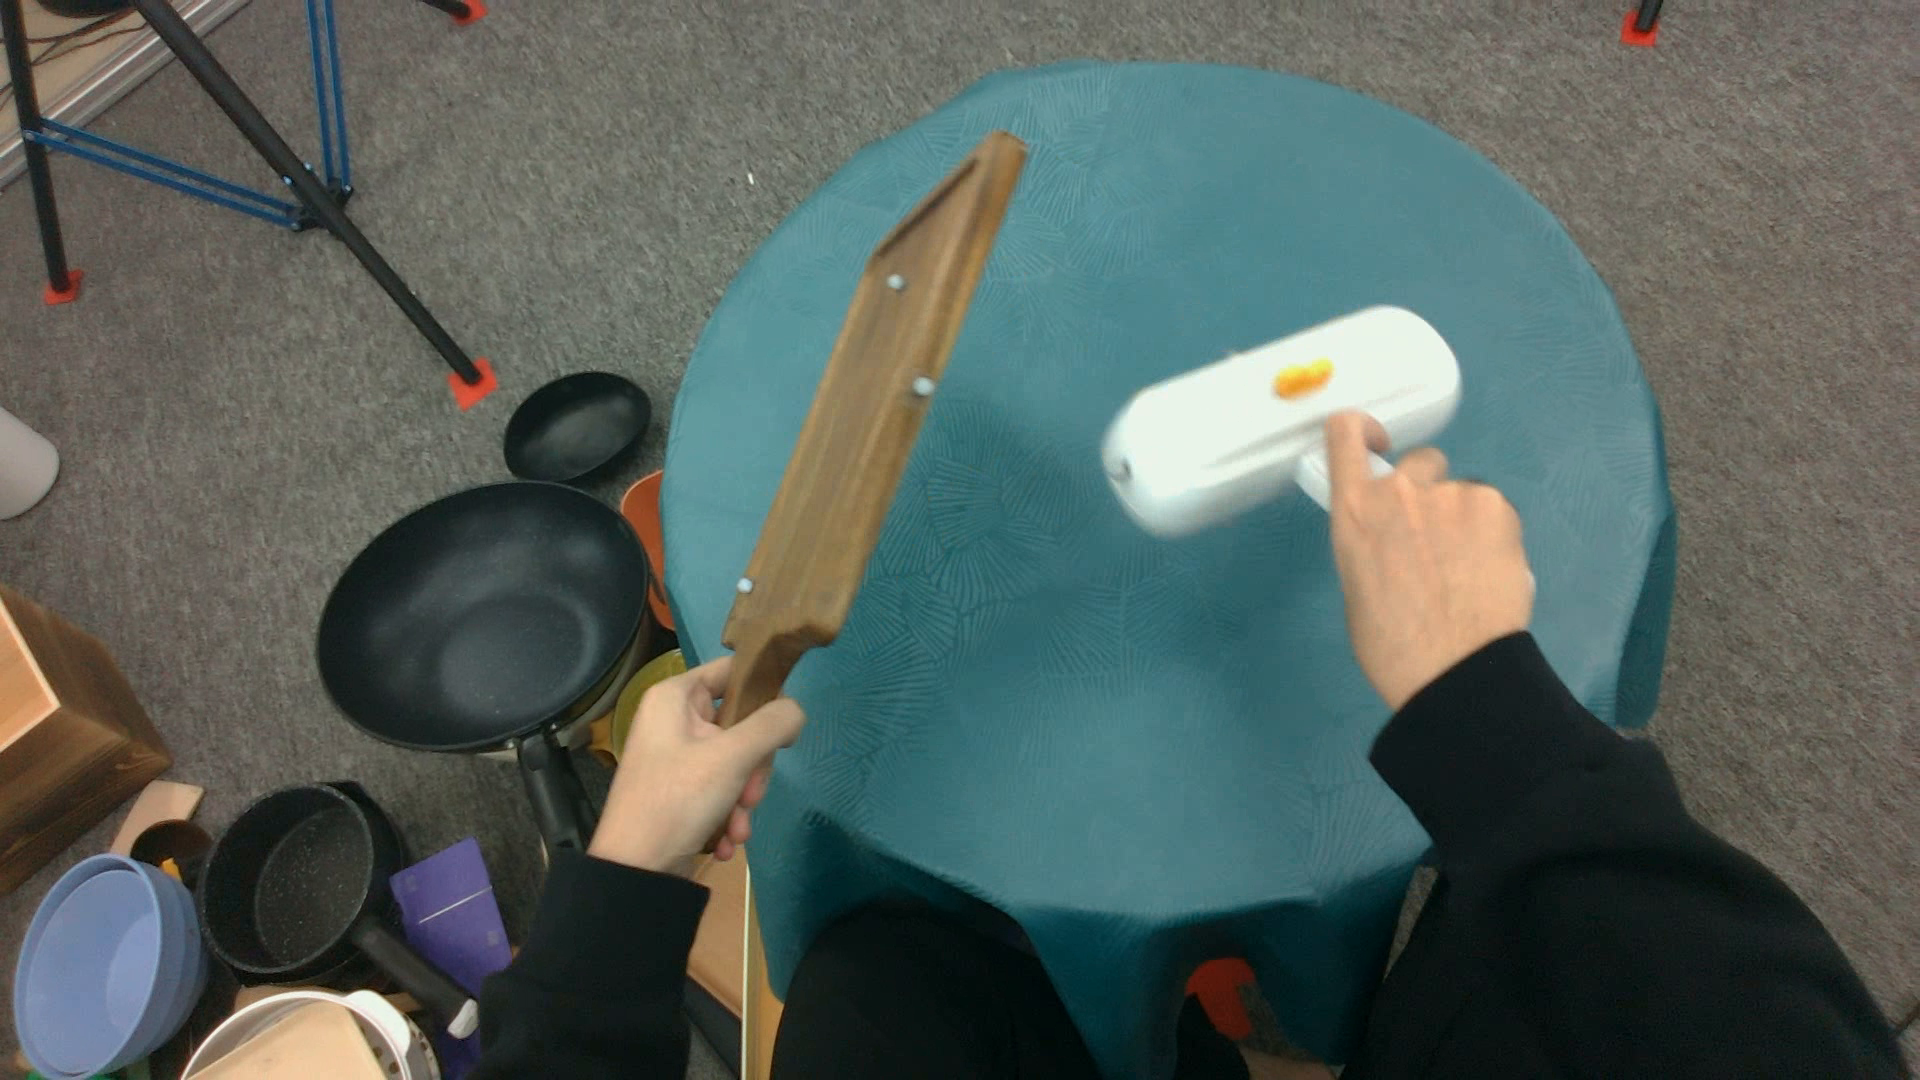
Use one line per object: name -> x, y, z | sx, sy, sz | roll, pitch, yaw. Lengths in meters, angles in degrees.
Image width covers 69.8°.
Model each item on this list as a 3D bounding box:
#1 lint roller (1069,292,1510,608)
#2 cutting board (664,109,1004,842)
lint roller -> 0.175, -0.032, 0.648 | 0.193, 0.074, 0.193 | -21, 58, -26
cutting board -> -0.075, -0.026, 0.679 | 0.023, 0.200, 0.353 | 23, 76, -19
